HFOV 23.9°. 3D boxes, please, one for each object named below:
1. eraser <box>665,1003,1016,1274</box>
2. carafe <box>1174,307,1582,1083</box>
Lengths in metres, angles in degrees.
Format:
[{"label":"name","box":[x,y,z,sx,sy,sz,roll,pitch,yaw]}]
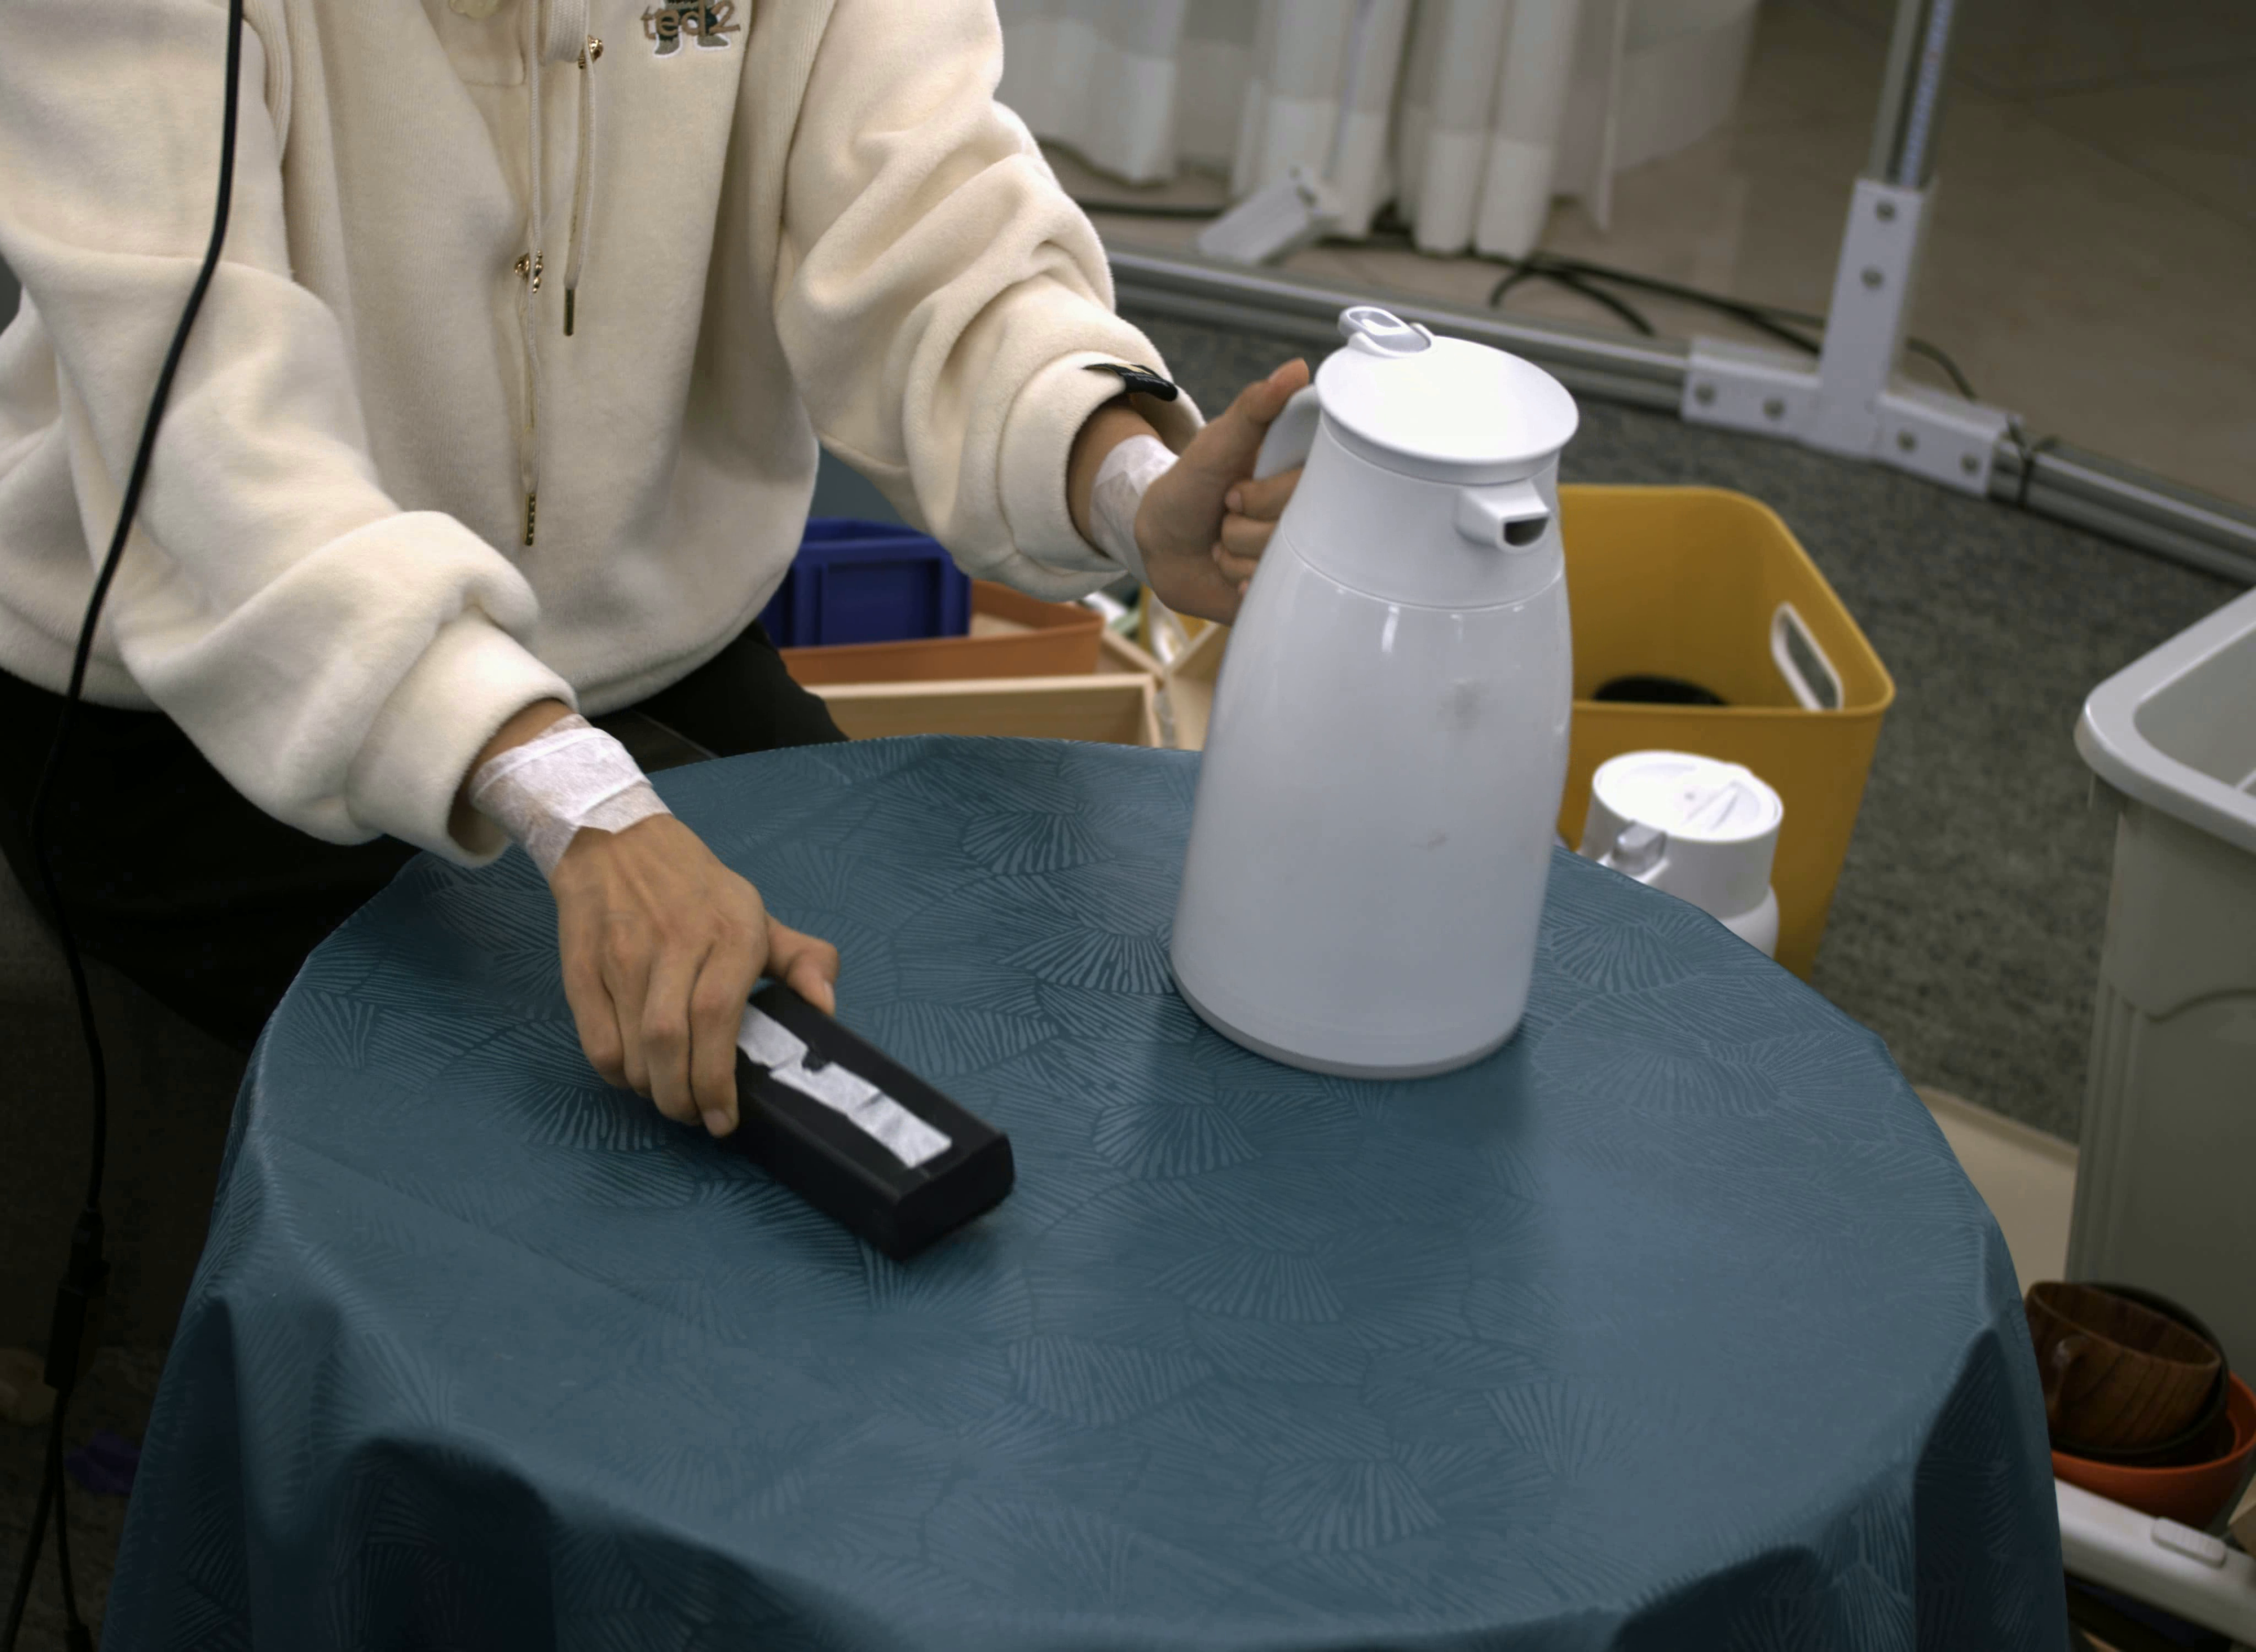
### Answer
[{"label":"eraser","box":[-0.096,0.103,1.780,0.053,0.030,0.126,-27,41,-33]},{"label":"carafe","box":[0.087,-0.057,1.892,0.131,0.248,0.169,-9,32,-26]}]
